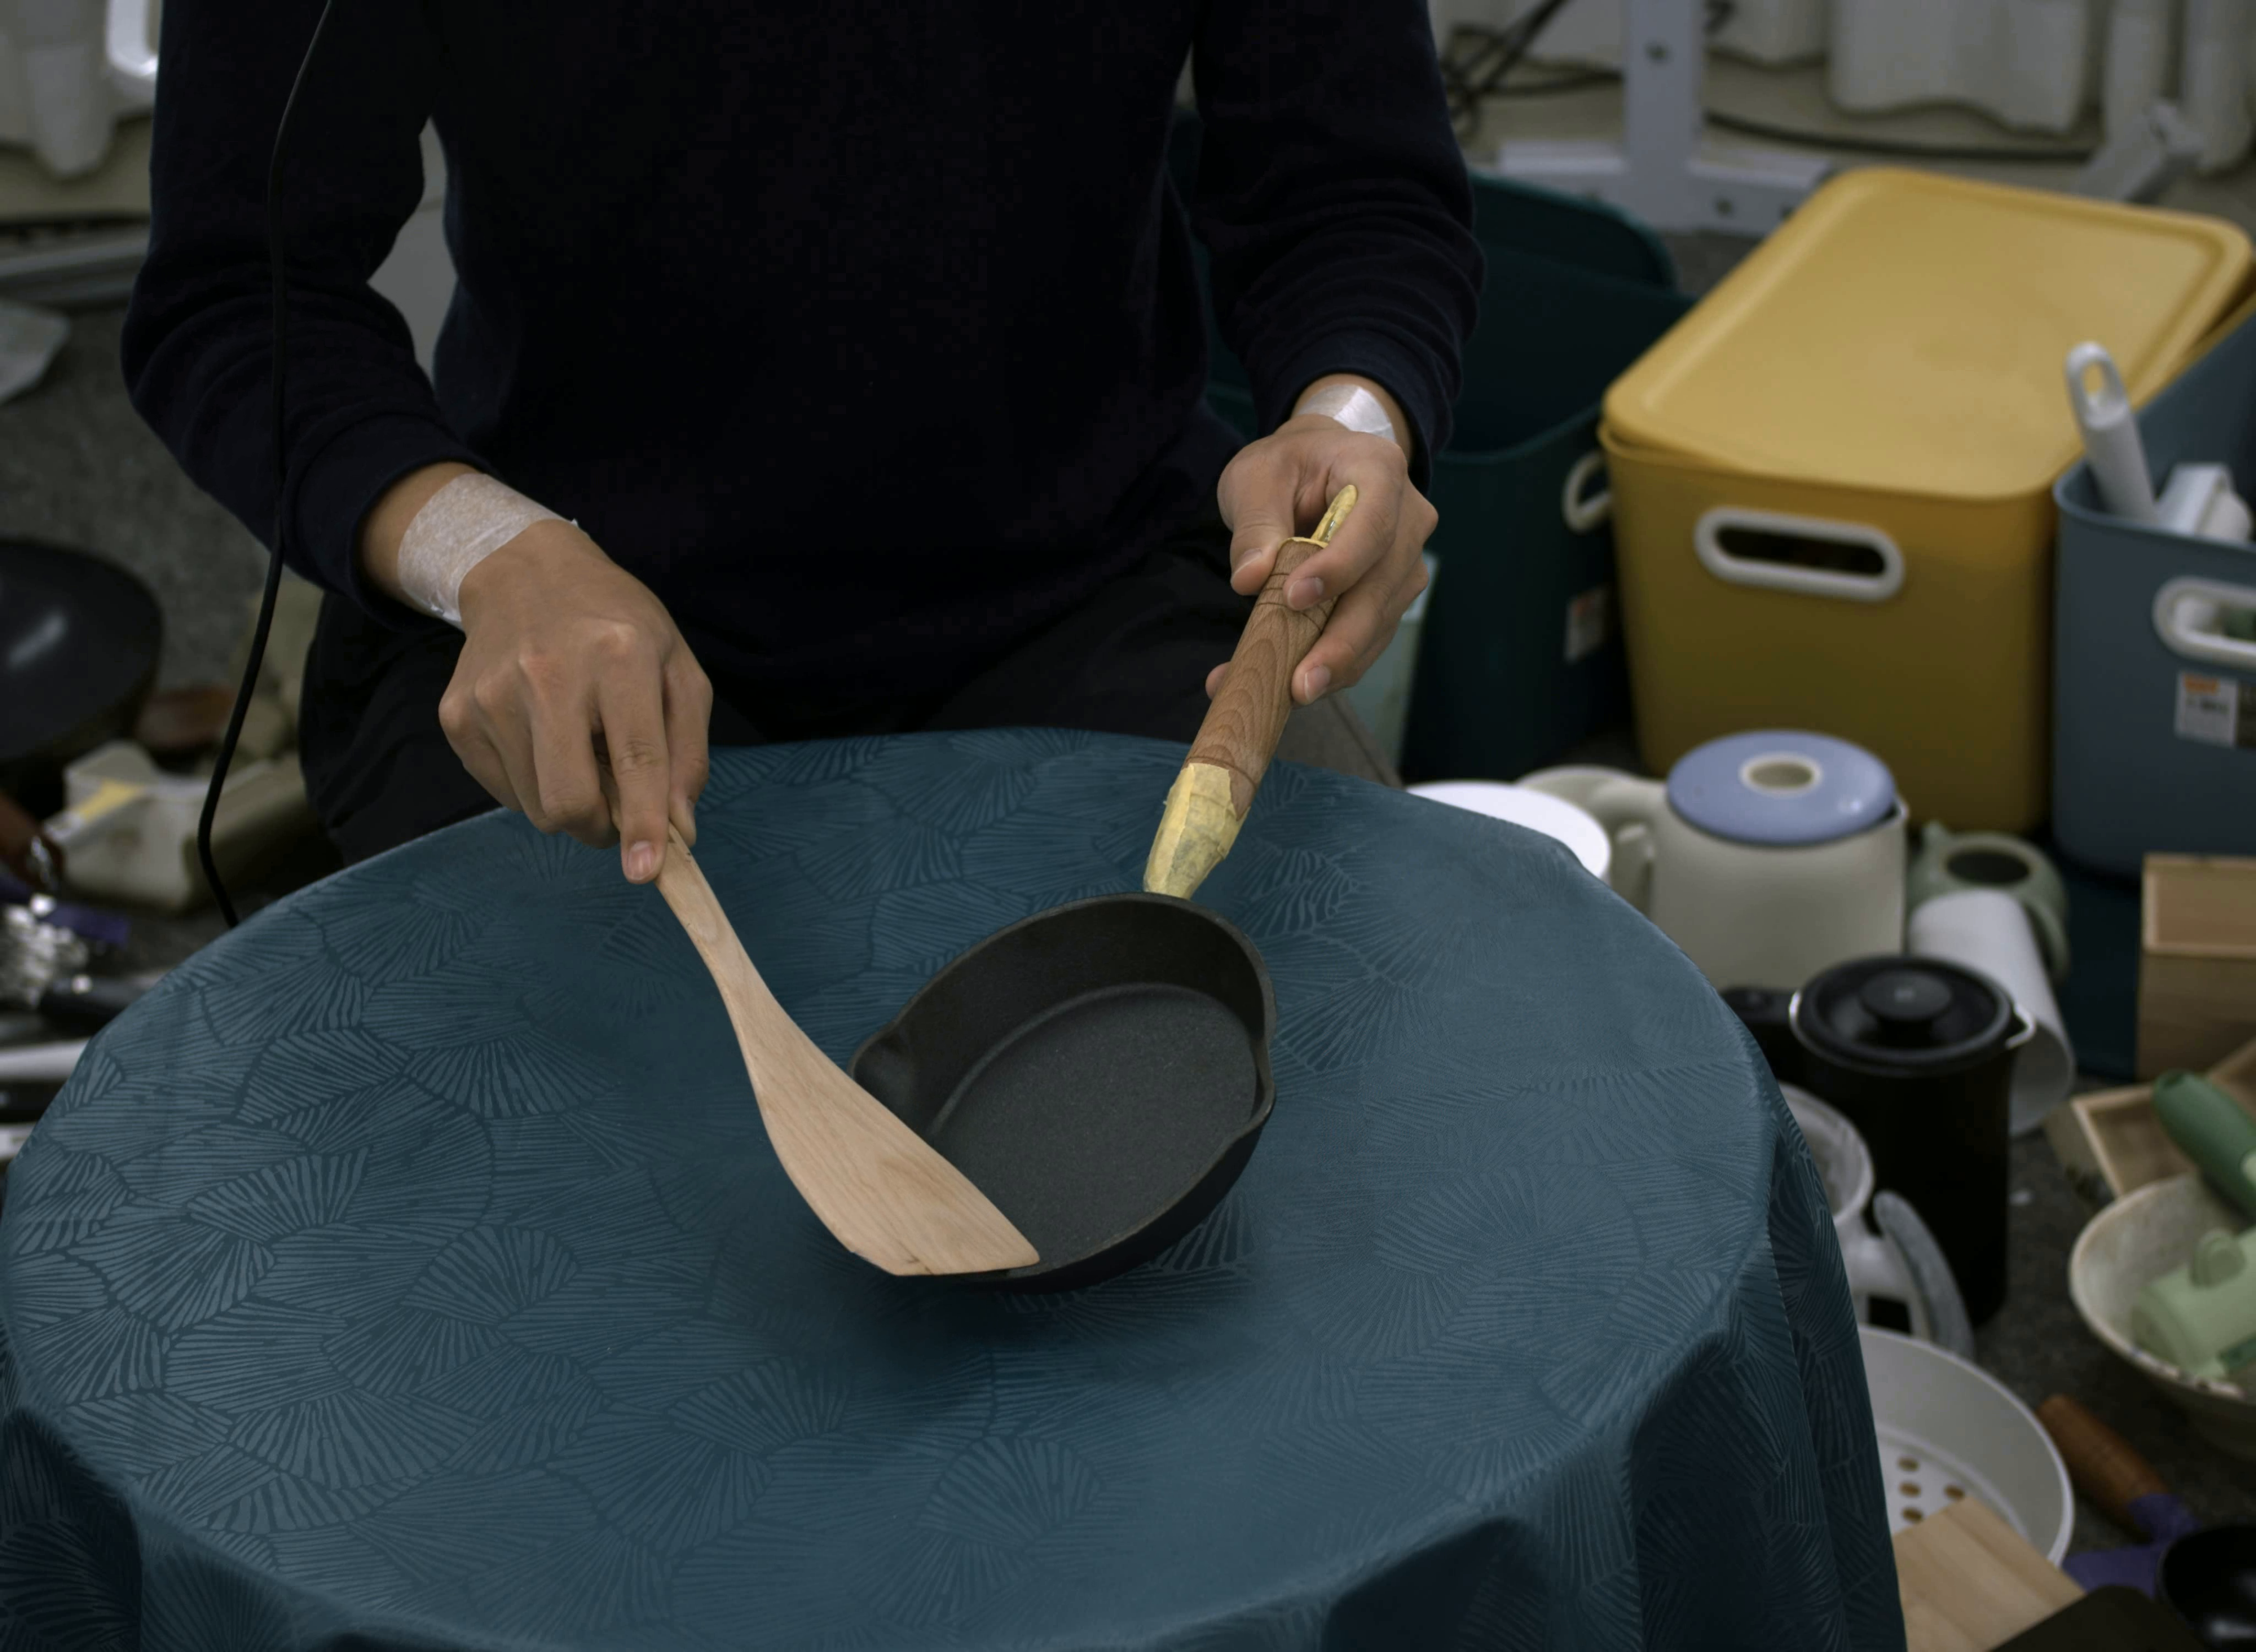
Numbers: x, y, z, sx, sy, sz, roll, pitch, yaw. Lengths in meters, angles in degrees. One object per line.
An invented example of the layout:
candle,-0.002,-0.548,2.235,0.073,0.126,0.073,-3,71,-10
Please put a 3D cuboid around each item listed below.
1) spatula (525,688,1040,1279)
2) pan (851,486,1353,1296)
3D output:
spatula,-0.125,0.050,1.863,0.080,0.016,0.331,10,31,-40
pan,0.016,0.022,1.866,0.167,0.049,0.330,5,53,36
